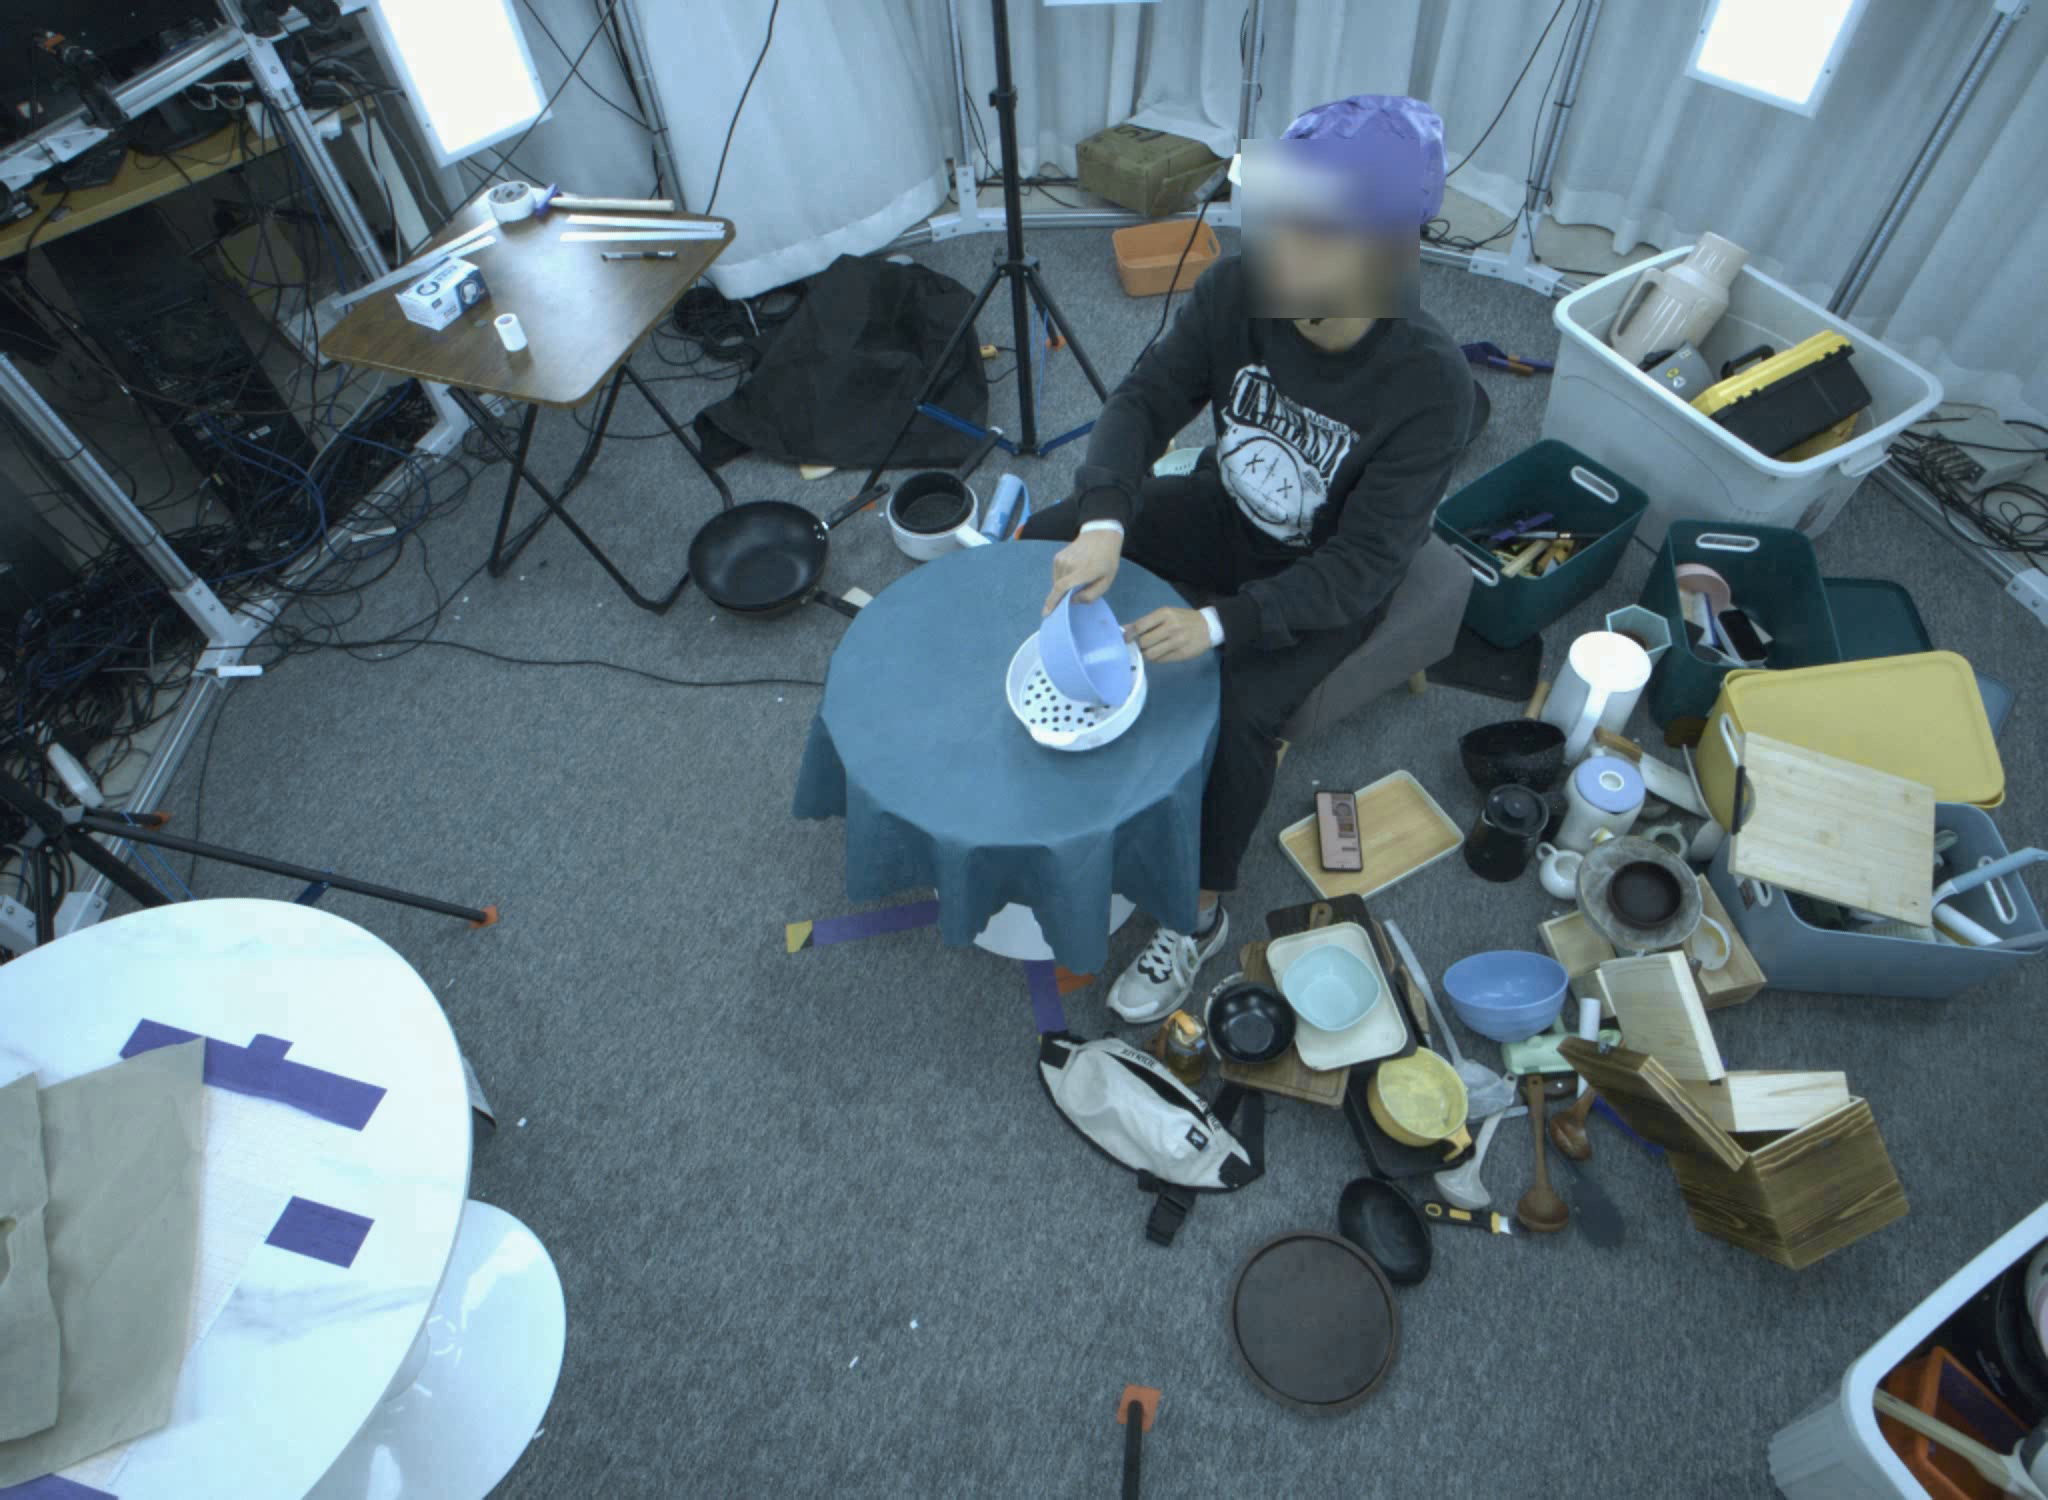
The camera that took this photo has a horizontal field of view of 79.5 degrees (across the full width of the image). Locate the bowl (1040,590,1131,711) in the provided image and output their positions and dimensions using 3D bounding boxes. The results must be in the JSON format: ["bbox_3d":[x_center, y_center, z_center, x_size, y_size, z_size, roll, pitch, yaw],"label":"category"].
[{"bbox_3d":[0.078,-0.129,1.705,0.069,0.180,0.174,-17,51,27],"label":"bowl"}]

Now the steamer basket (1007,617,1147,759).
[{"bbox_3d":[0.080,-0.086,1.794,0.199,0.070,0.230,10,68,19],"label":"steamer basket"}]
